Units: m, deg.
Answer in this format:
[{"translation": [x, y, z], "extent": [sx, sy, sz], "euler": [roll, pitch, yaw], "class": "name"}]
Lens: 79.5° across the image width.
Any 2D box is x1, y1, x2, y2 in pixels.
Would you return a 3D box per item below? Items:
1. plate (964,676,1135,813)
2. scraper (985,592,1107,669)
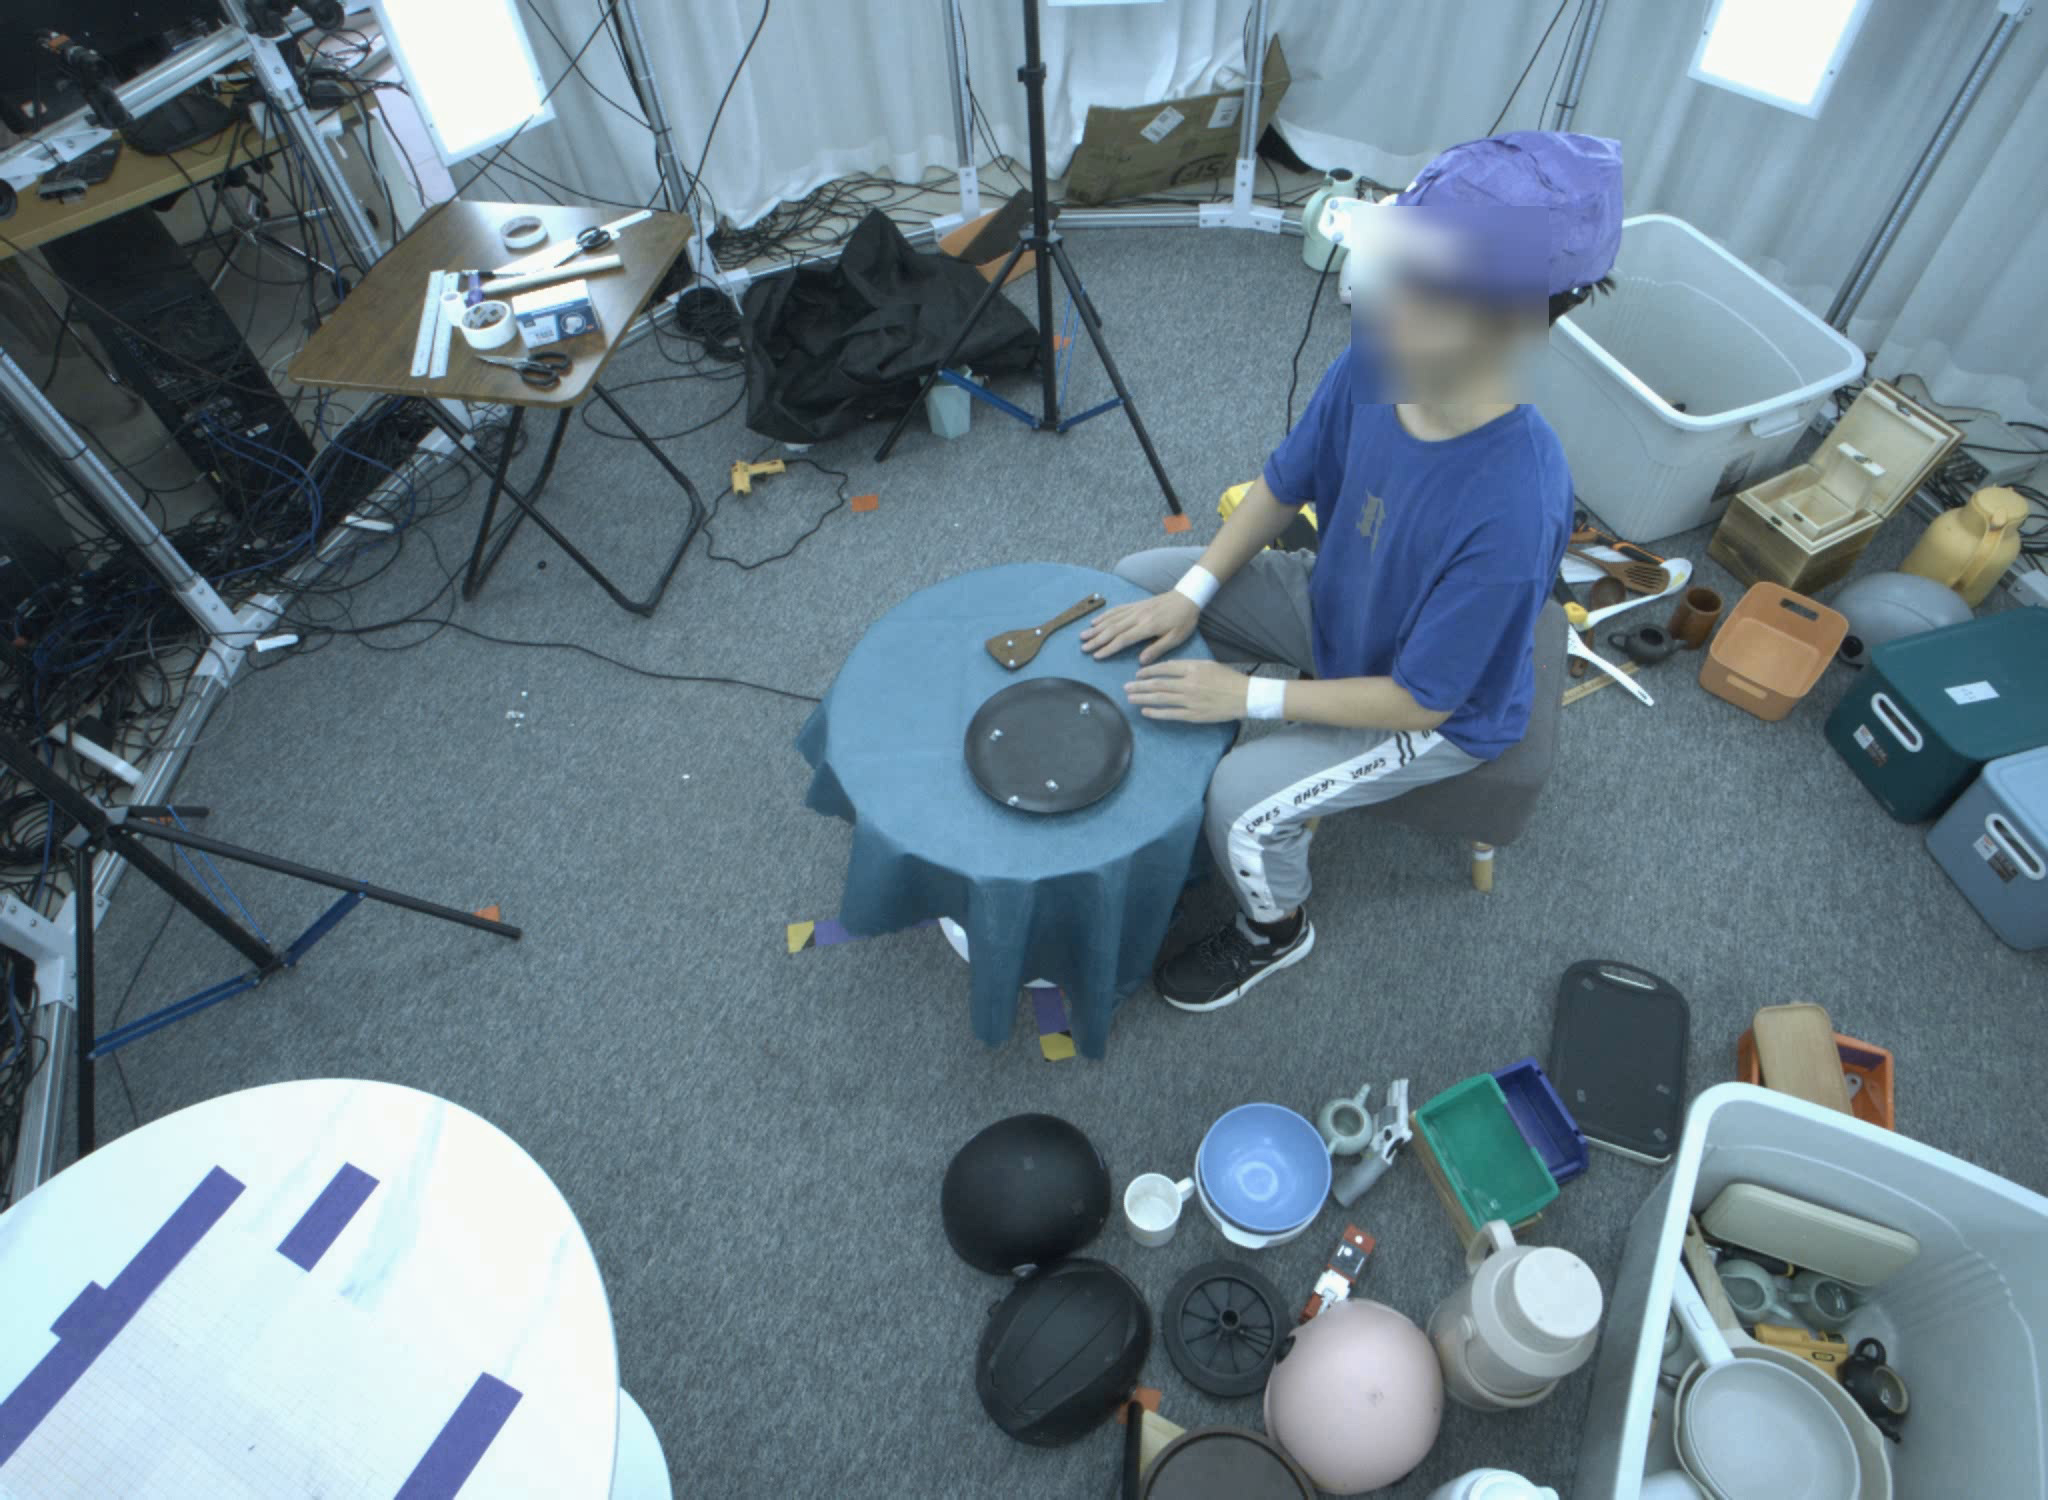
[{"translation": [0.036, -0.006, 1.767], "extent": [0.244, 0.024, 0.242], "euler": [-1, 54, 2], "class": "plate"}, {"translation": [0.040, -0.192, 1.909], "extent": [0.213, 0.011, 0.074], "euler": [-31, 60, -20], "class": "scraper"}]
